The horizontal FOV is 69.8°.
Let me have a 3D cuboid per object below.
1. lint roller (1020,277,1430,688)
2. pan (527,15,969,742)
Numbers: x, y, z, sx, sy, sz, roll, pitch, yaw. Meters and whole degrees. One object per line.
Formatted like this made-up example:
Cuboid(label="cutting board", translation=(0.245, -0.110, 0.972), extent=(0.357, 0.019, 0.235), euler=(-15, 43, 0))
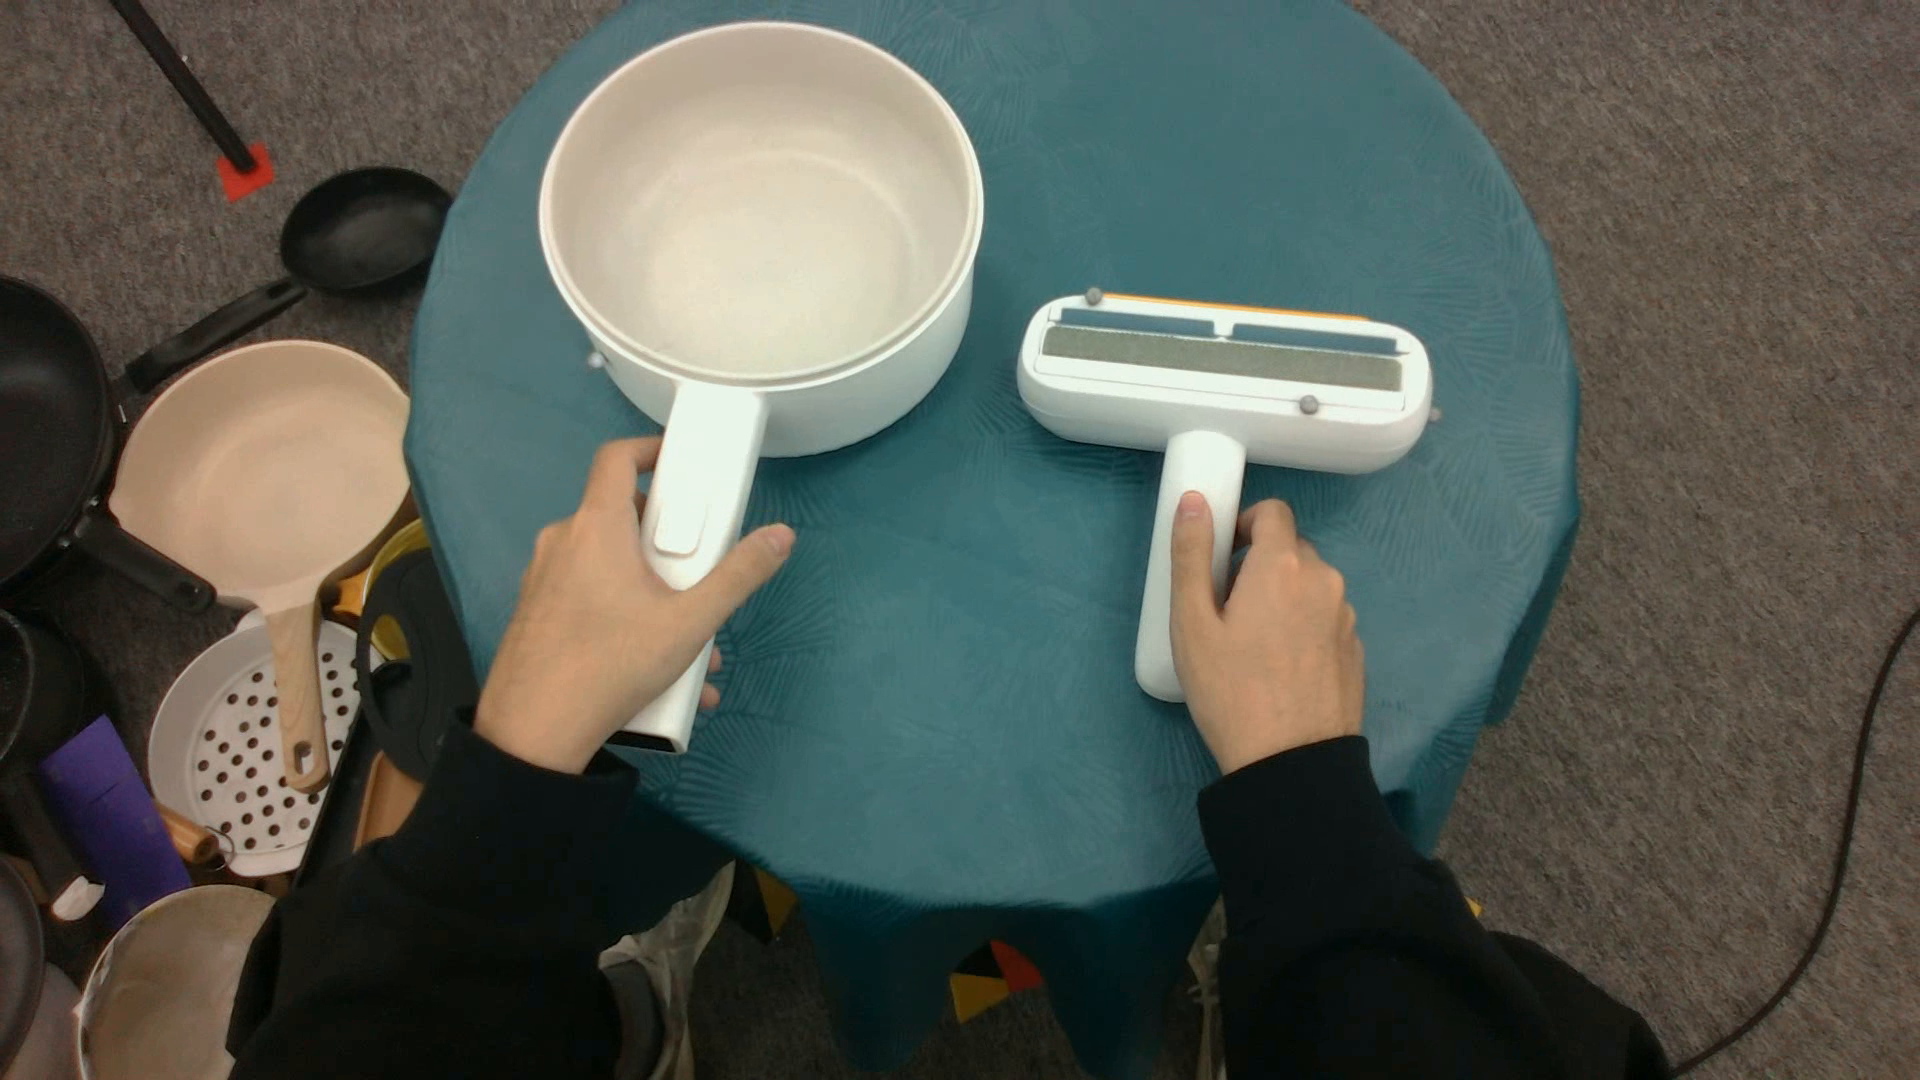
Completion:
Cuboid(label="lint roller", translation=(0.109, -0.027, 0.645), extent=(0.193, 0.074, 0.193), euler=(13, 69, 9))
Cuboid(label="pan", translation=(-0.108, -0.074, 0.640), extent=(0.201, 0.101, 0.356), euler=(8, 67, 1))
